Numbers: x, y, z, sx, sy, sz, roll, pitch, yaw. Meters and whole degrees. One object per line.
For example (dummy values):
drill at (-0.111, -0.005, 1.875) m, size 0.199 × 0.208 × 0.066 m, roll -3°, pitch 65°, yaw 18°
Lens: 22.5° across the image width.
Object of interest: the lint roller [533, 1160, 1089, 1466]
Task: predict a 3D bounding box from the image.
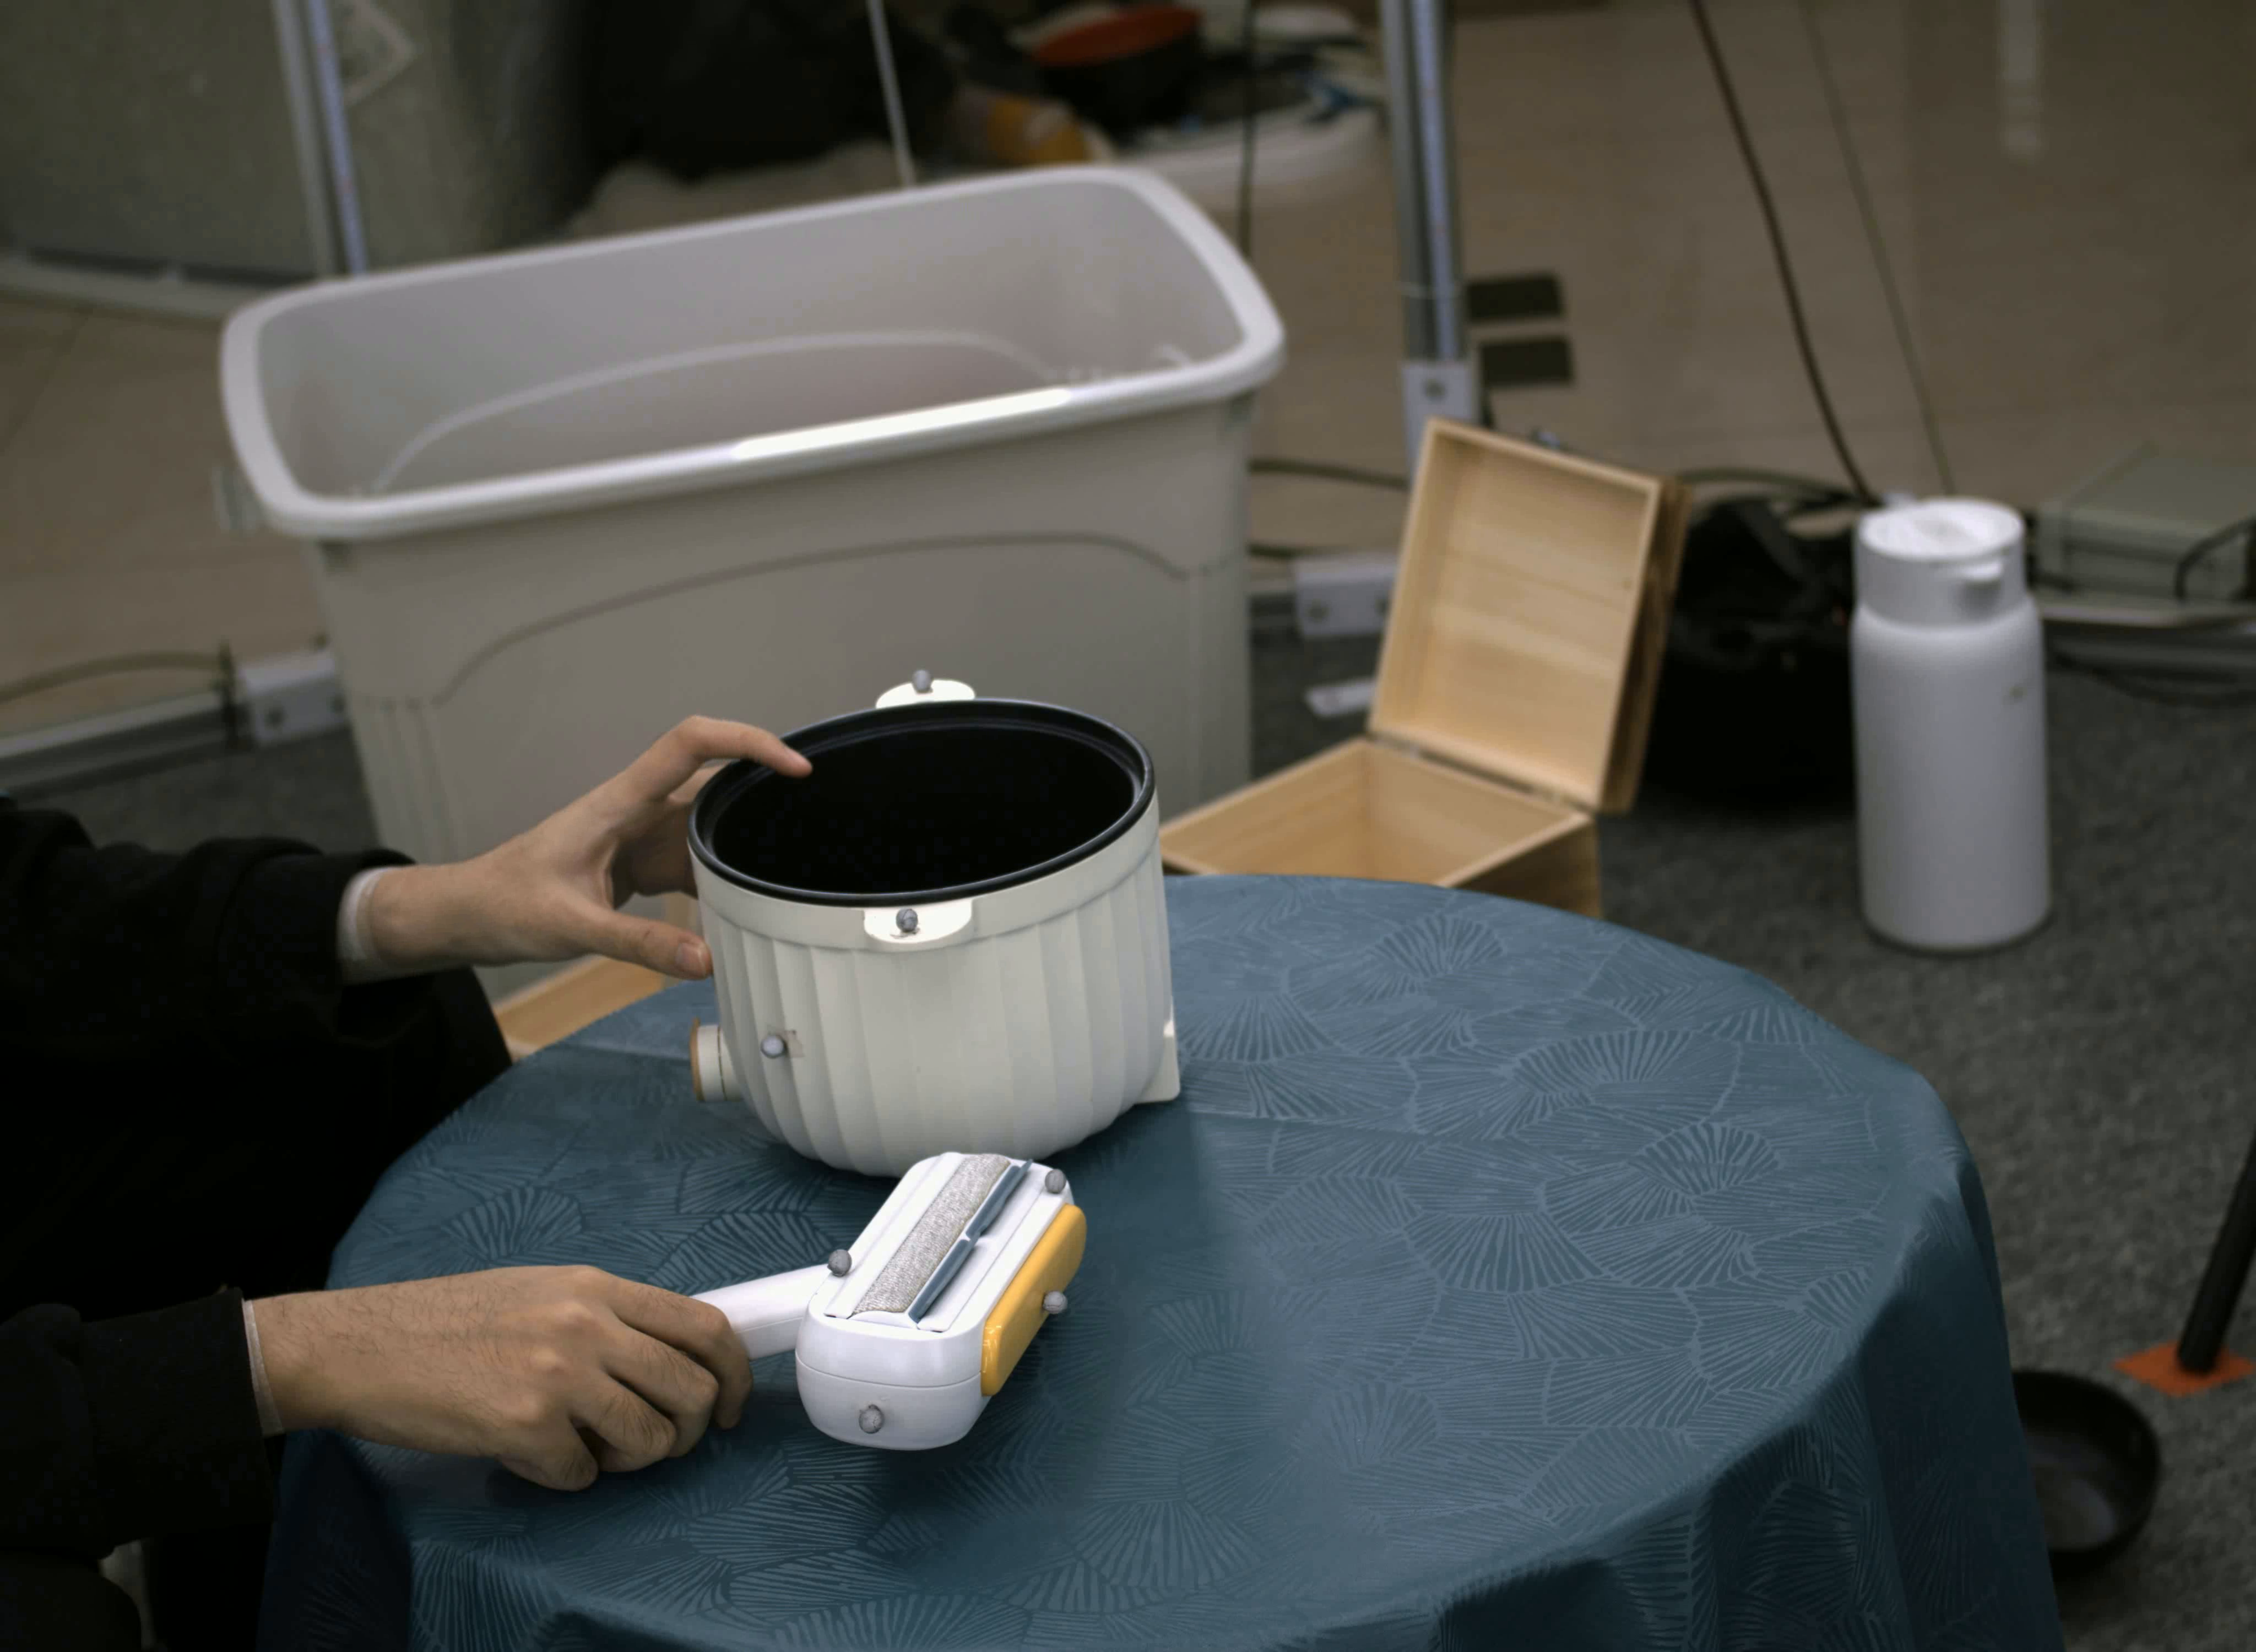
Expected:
lint roller at (-0.123, 0.175, 2.016) m, size 0.192 × 0.075 × 0.190 m, roll 0°, pitch 20°, yaw 17°

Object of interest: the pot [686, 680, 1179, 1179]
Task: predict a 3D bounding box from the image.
pot at (-0.078, 0.049, 2.189) m, size 0.190 × 0.145 × 0.237 m, roll -4°, pitch 24°, yaw 0°
